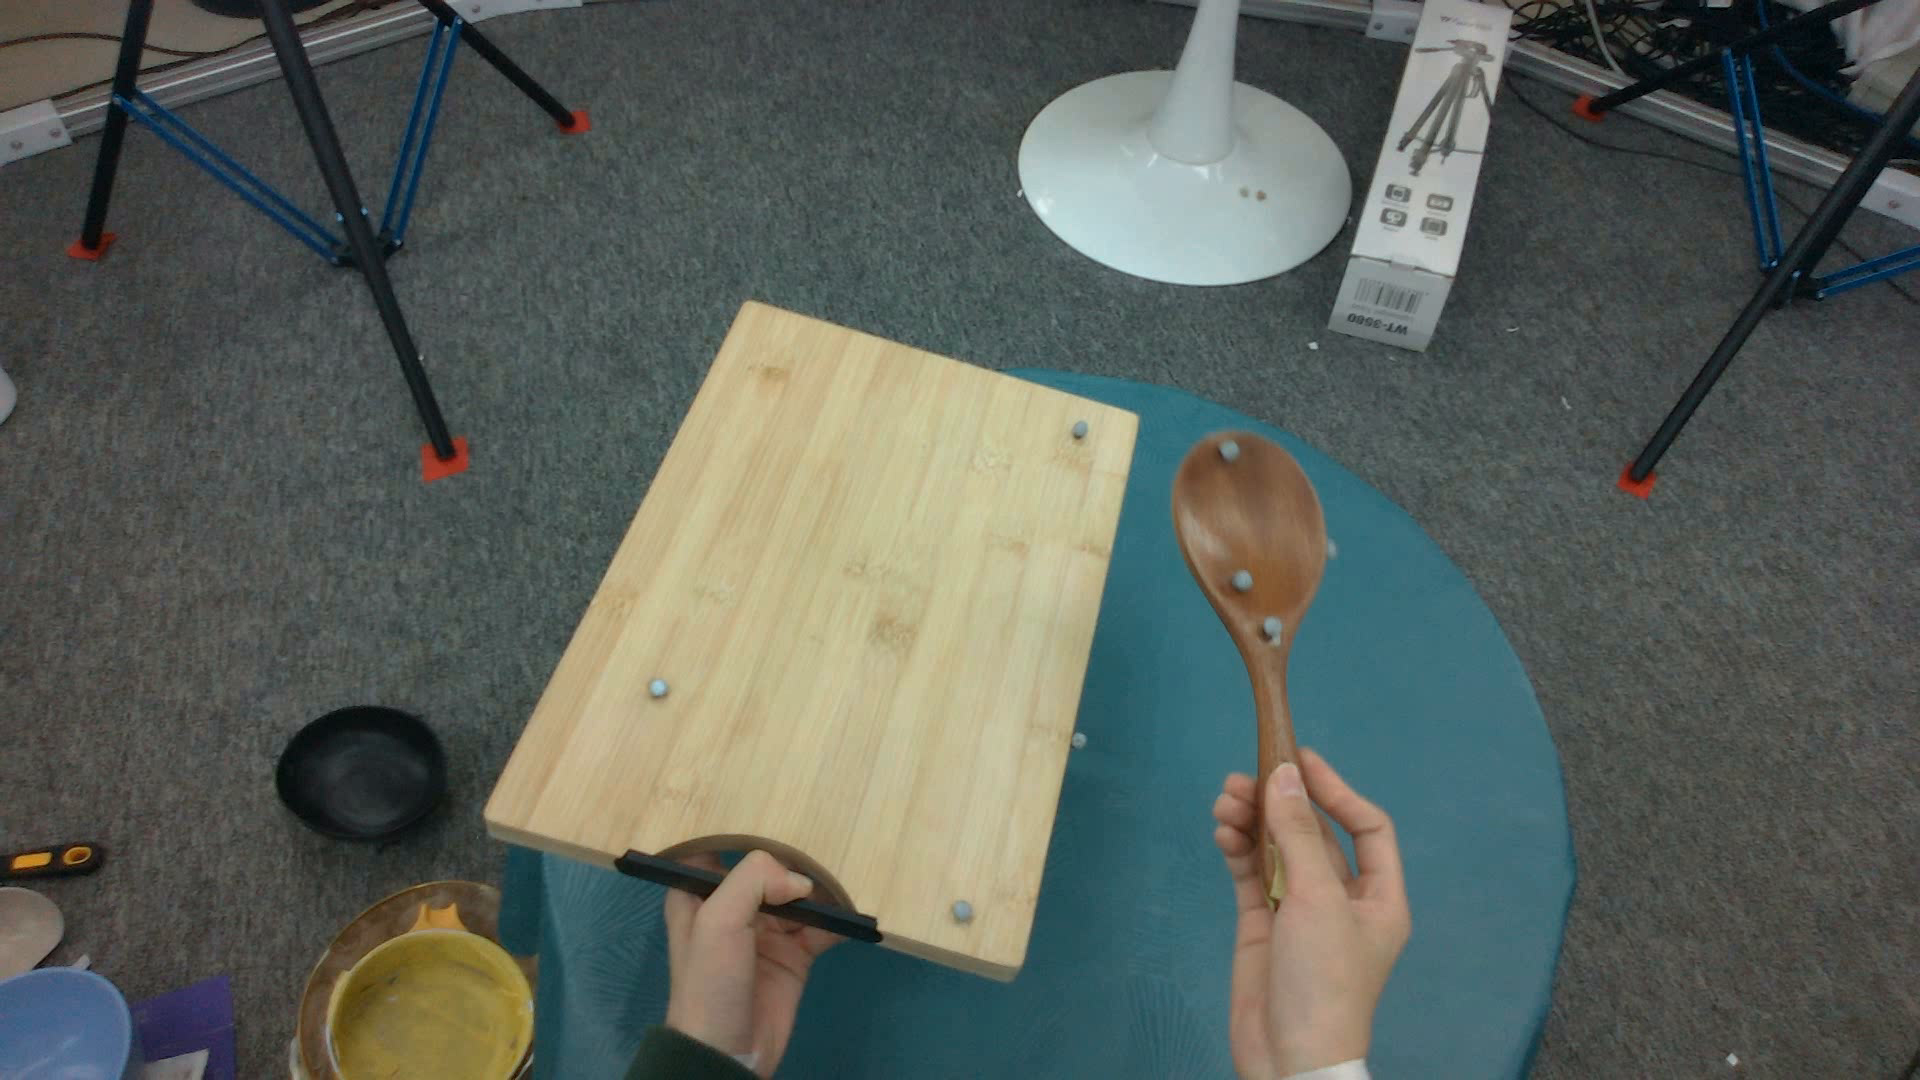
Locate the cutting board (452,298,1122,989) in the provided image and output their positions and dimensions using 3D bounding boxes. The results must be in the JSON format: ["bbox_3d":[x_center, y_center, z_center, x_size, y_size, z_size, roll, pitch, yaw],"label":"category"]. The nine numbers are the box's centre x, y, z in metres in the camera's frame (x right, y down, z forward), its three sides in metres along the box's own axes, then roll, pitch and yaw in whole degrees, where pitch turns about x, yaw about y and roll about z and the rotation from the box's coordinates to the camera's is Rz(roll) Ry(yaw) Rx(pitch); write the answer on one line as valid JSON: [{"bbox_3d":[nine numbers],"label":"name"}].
[{"bbox_3d":[-0.061,0.028,0.694,0.251,0.023,0.350,15,51,0],"label":"cutting board"}]

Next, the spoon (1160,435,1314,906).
[{"bbox_3d":[0.126,0.050,0.600,0.075,0.017,0.216,6,62,-16],"label":"spoon"}]
